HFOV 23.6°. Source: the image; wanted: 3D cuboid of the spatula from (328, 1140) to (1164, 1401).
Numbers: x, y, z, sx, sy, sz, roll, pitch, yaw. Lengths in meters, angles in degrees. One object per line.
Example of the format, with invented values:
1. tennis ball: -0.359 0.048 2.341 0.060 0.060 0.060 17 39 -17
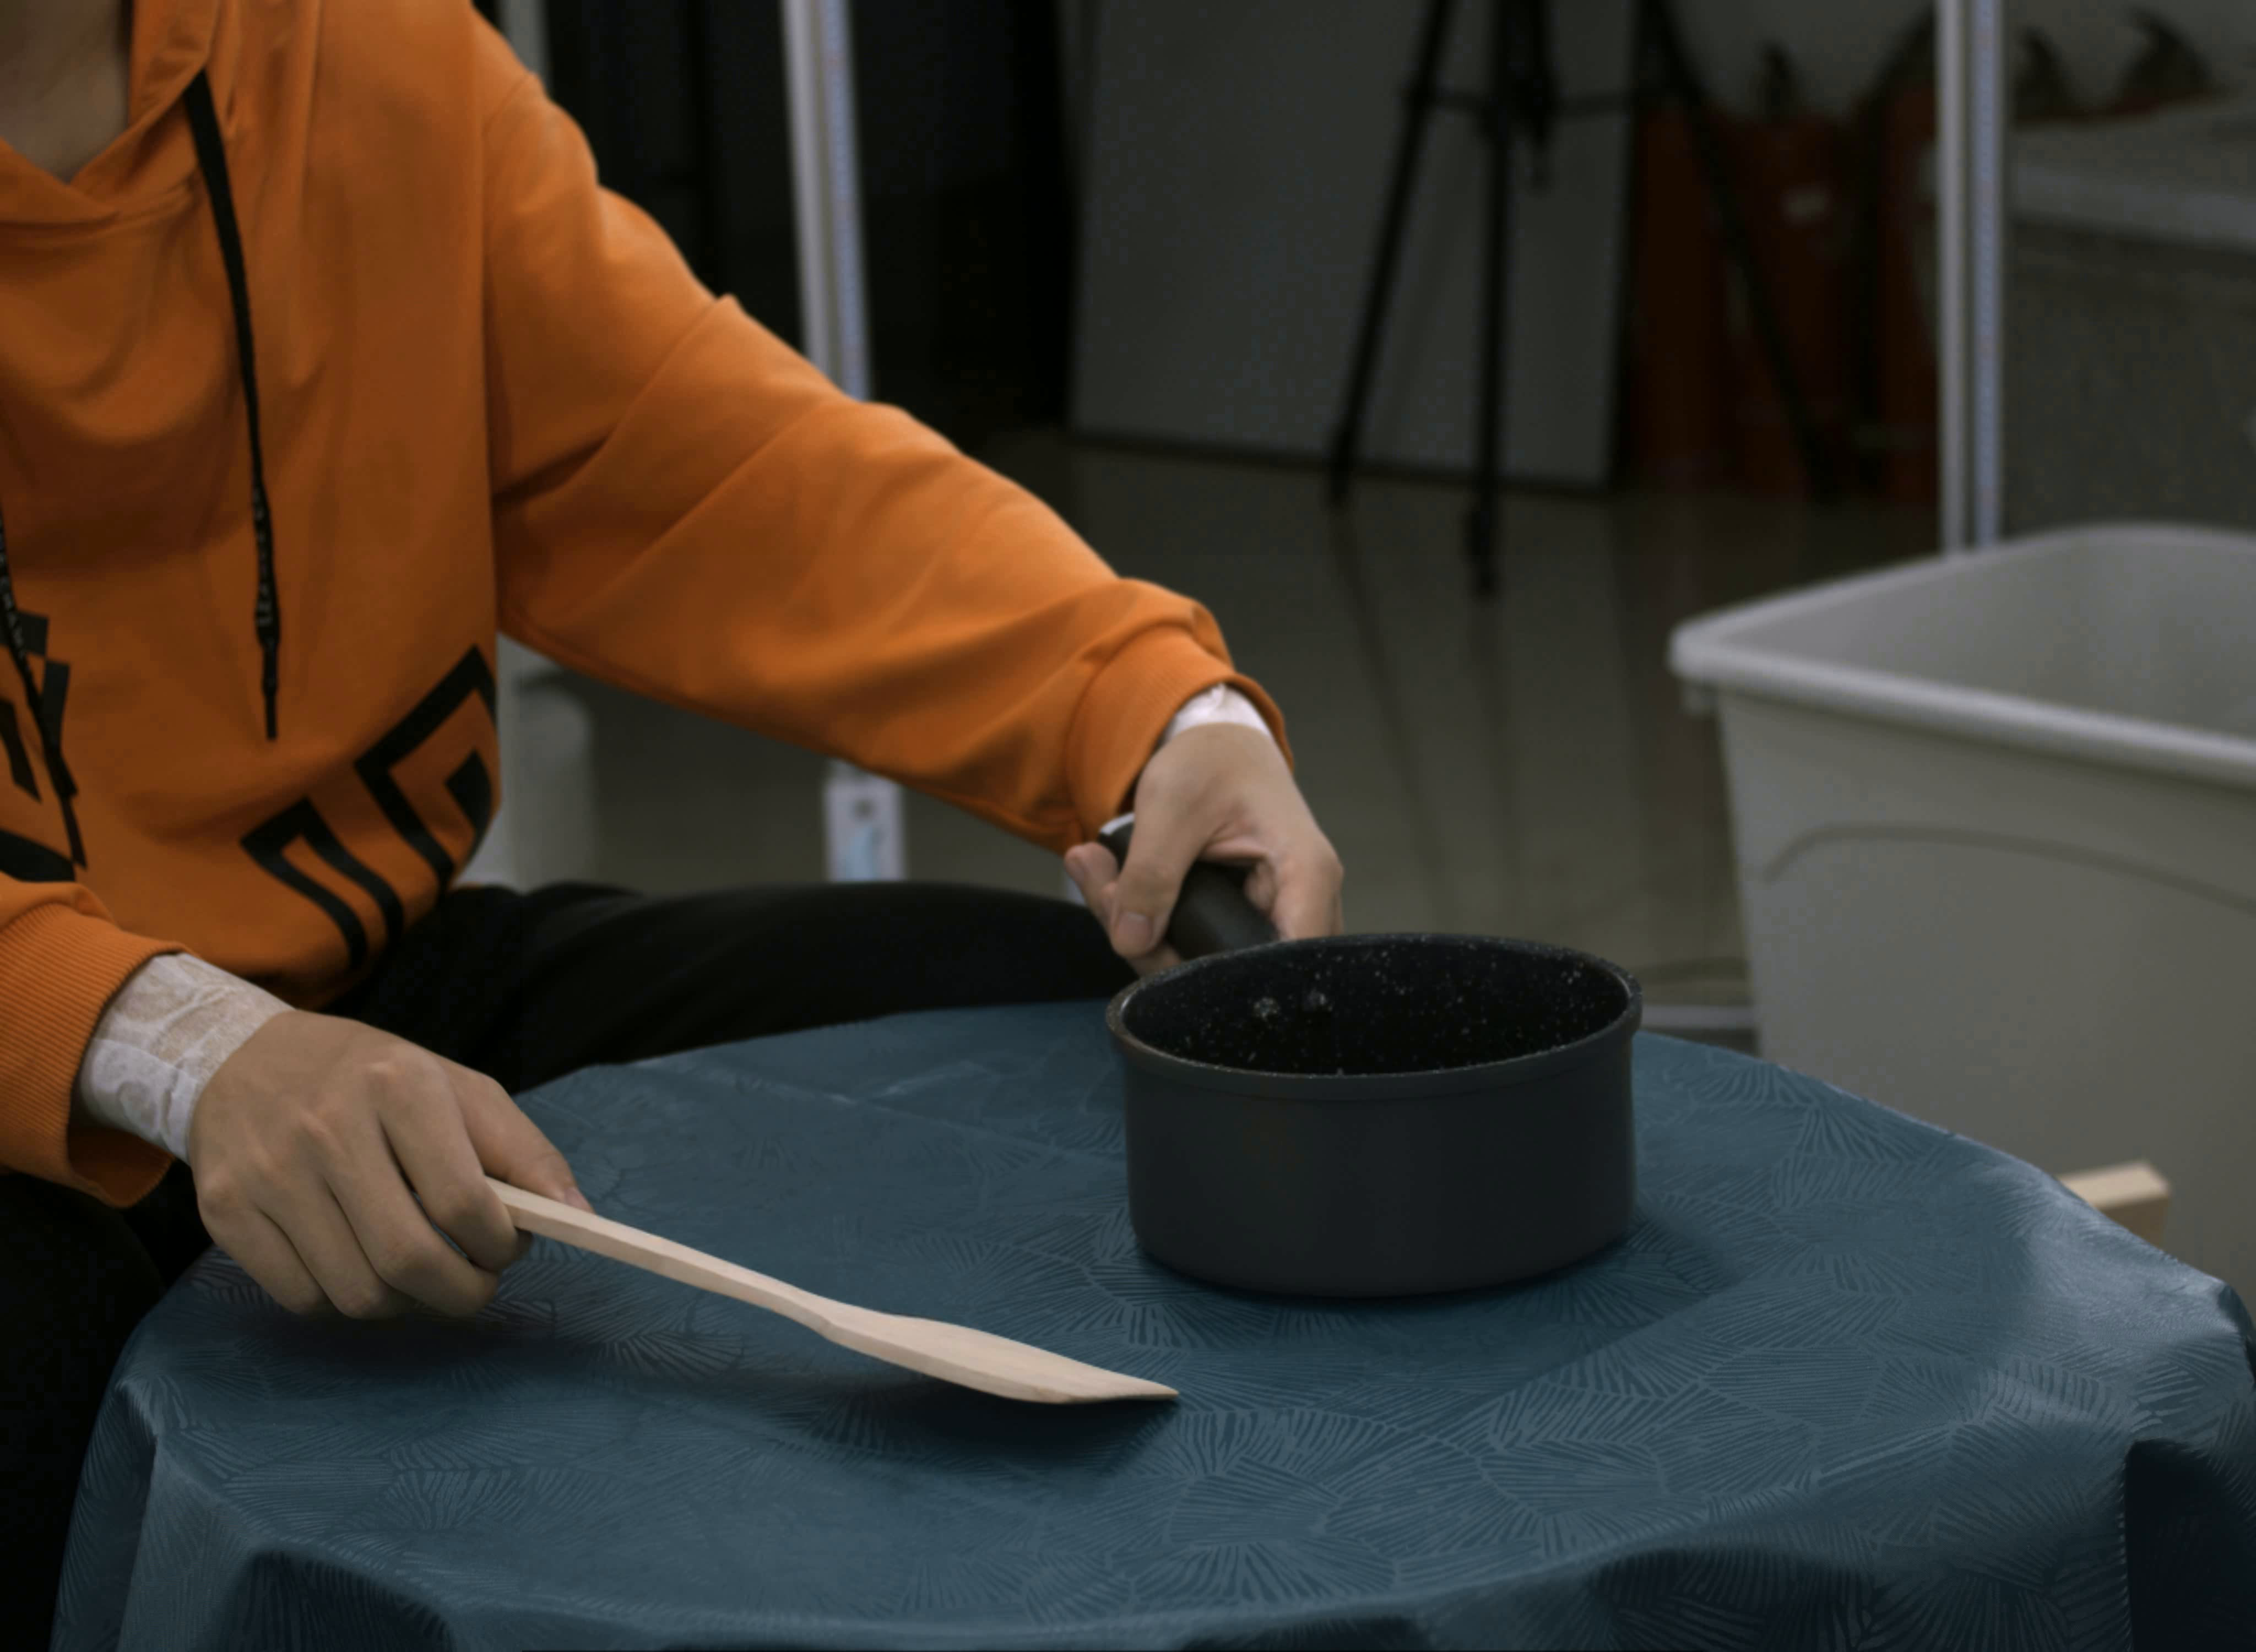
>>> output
1. spatula: -0.125 0.133 1.622 0.294 0.011 0.071 15 5 31

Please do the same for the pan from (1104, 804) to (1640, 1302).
1. pan: 0.058 0.071 1.781 0.169 0.087 0.331 -6 15 -14
